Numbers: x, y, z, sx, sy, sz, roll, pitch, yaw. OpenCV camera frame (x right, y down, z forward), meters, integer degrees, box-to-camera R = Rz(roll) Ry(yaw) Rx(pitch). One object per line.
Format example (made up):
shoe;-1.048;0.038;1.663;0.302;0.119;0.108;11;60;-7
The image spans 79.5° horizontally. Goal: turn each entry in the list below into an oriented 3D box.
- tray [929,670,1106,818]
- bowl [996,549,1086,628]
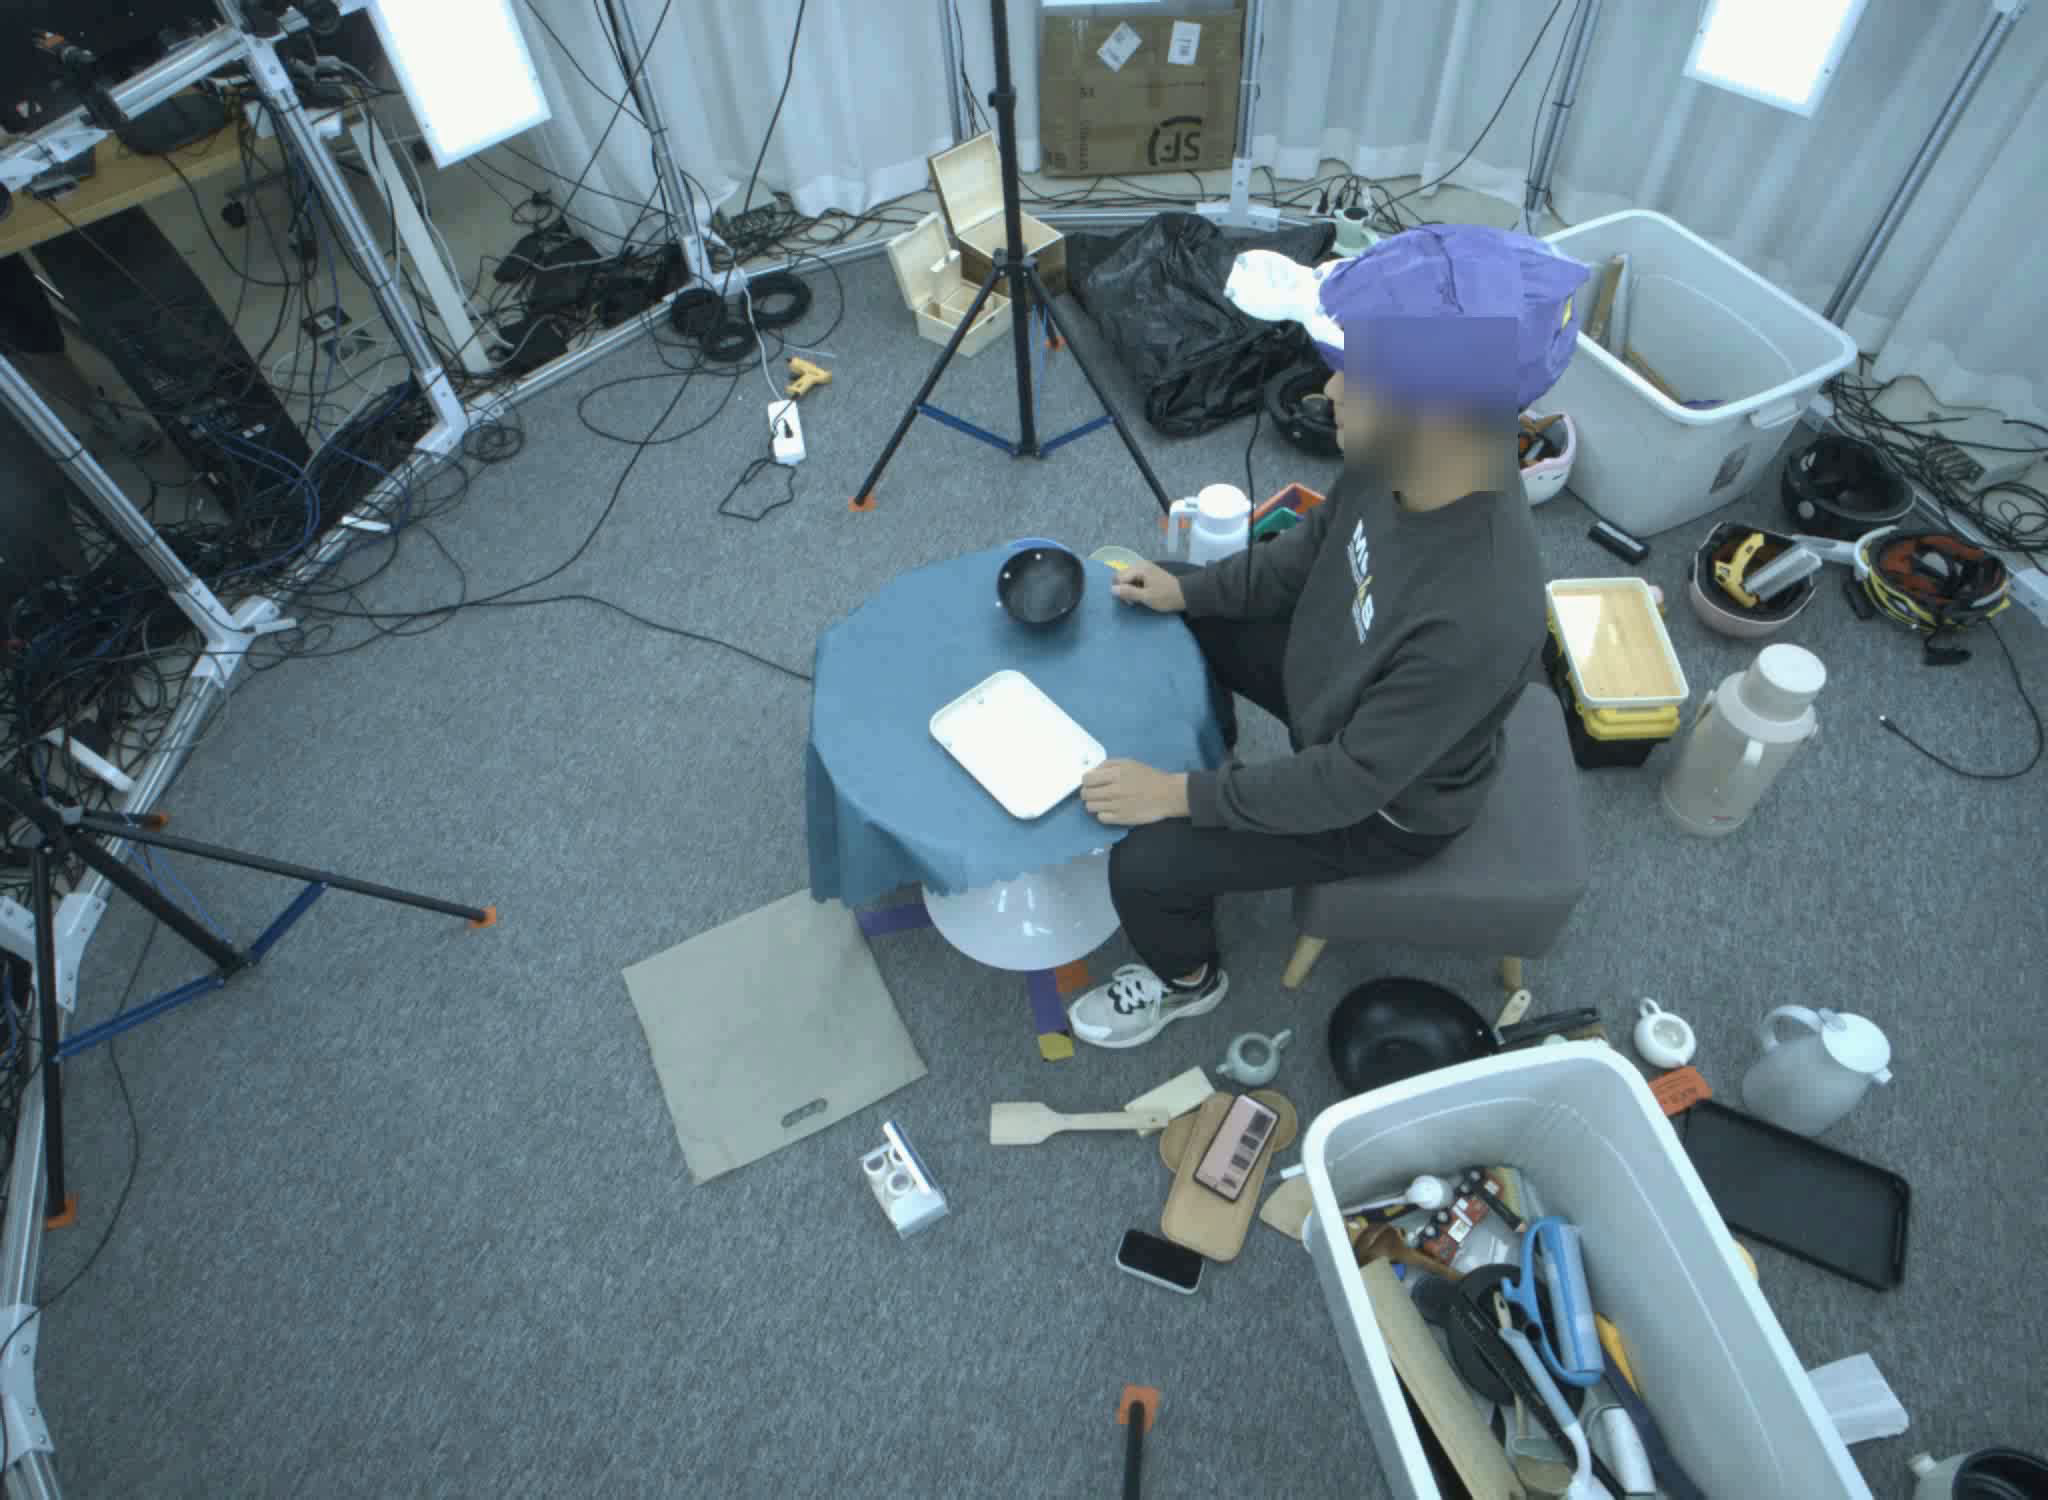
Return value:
tray;-0.011;-0.010;1.782;0.172;0.017;0.235;-35;61;-22
bowl;0.028;-0.246;1.922;0.136;0.067;0.169;10;54;7
